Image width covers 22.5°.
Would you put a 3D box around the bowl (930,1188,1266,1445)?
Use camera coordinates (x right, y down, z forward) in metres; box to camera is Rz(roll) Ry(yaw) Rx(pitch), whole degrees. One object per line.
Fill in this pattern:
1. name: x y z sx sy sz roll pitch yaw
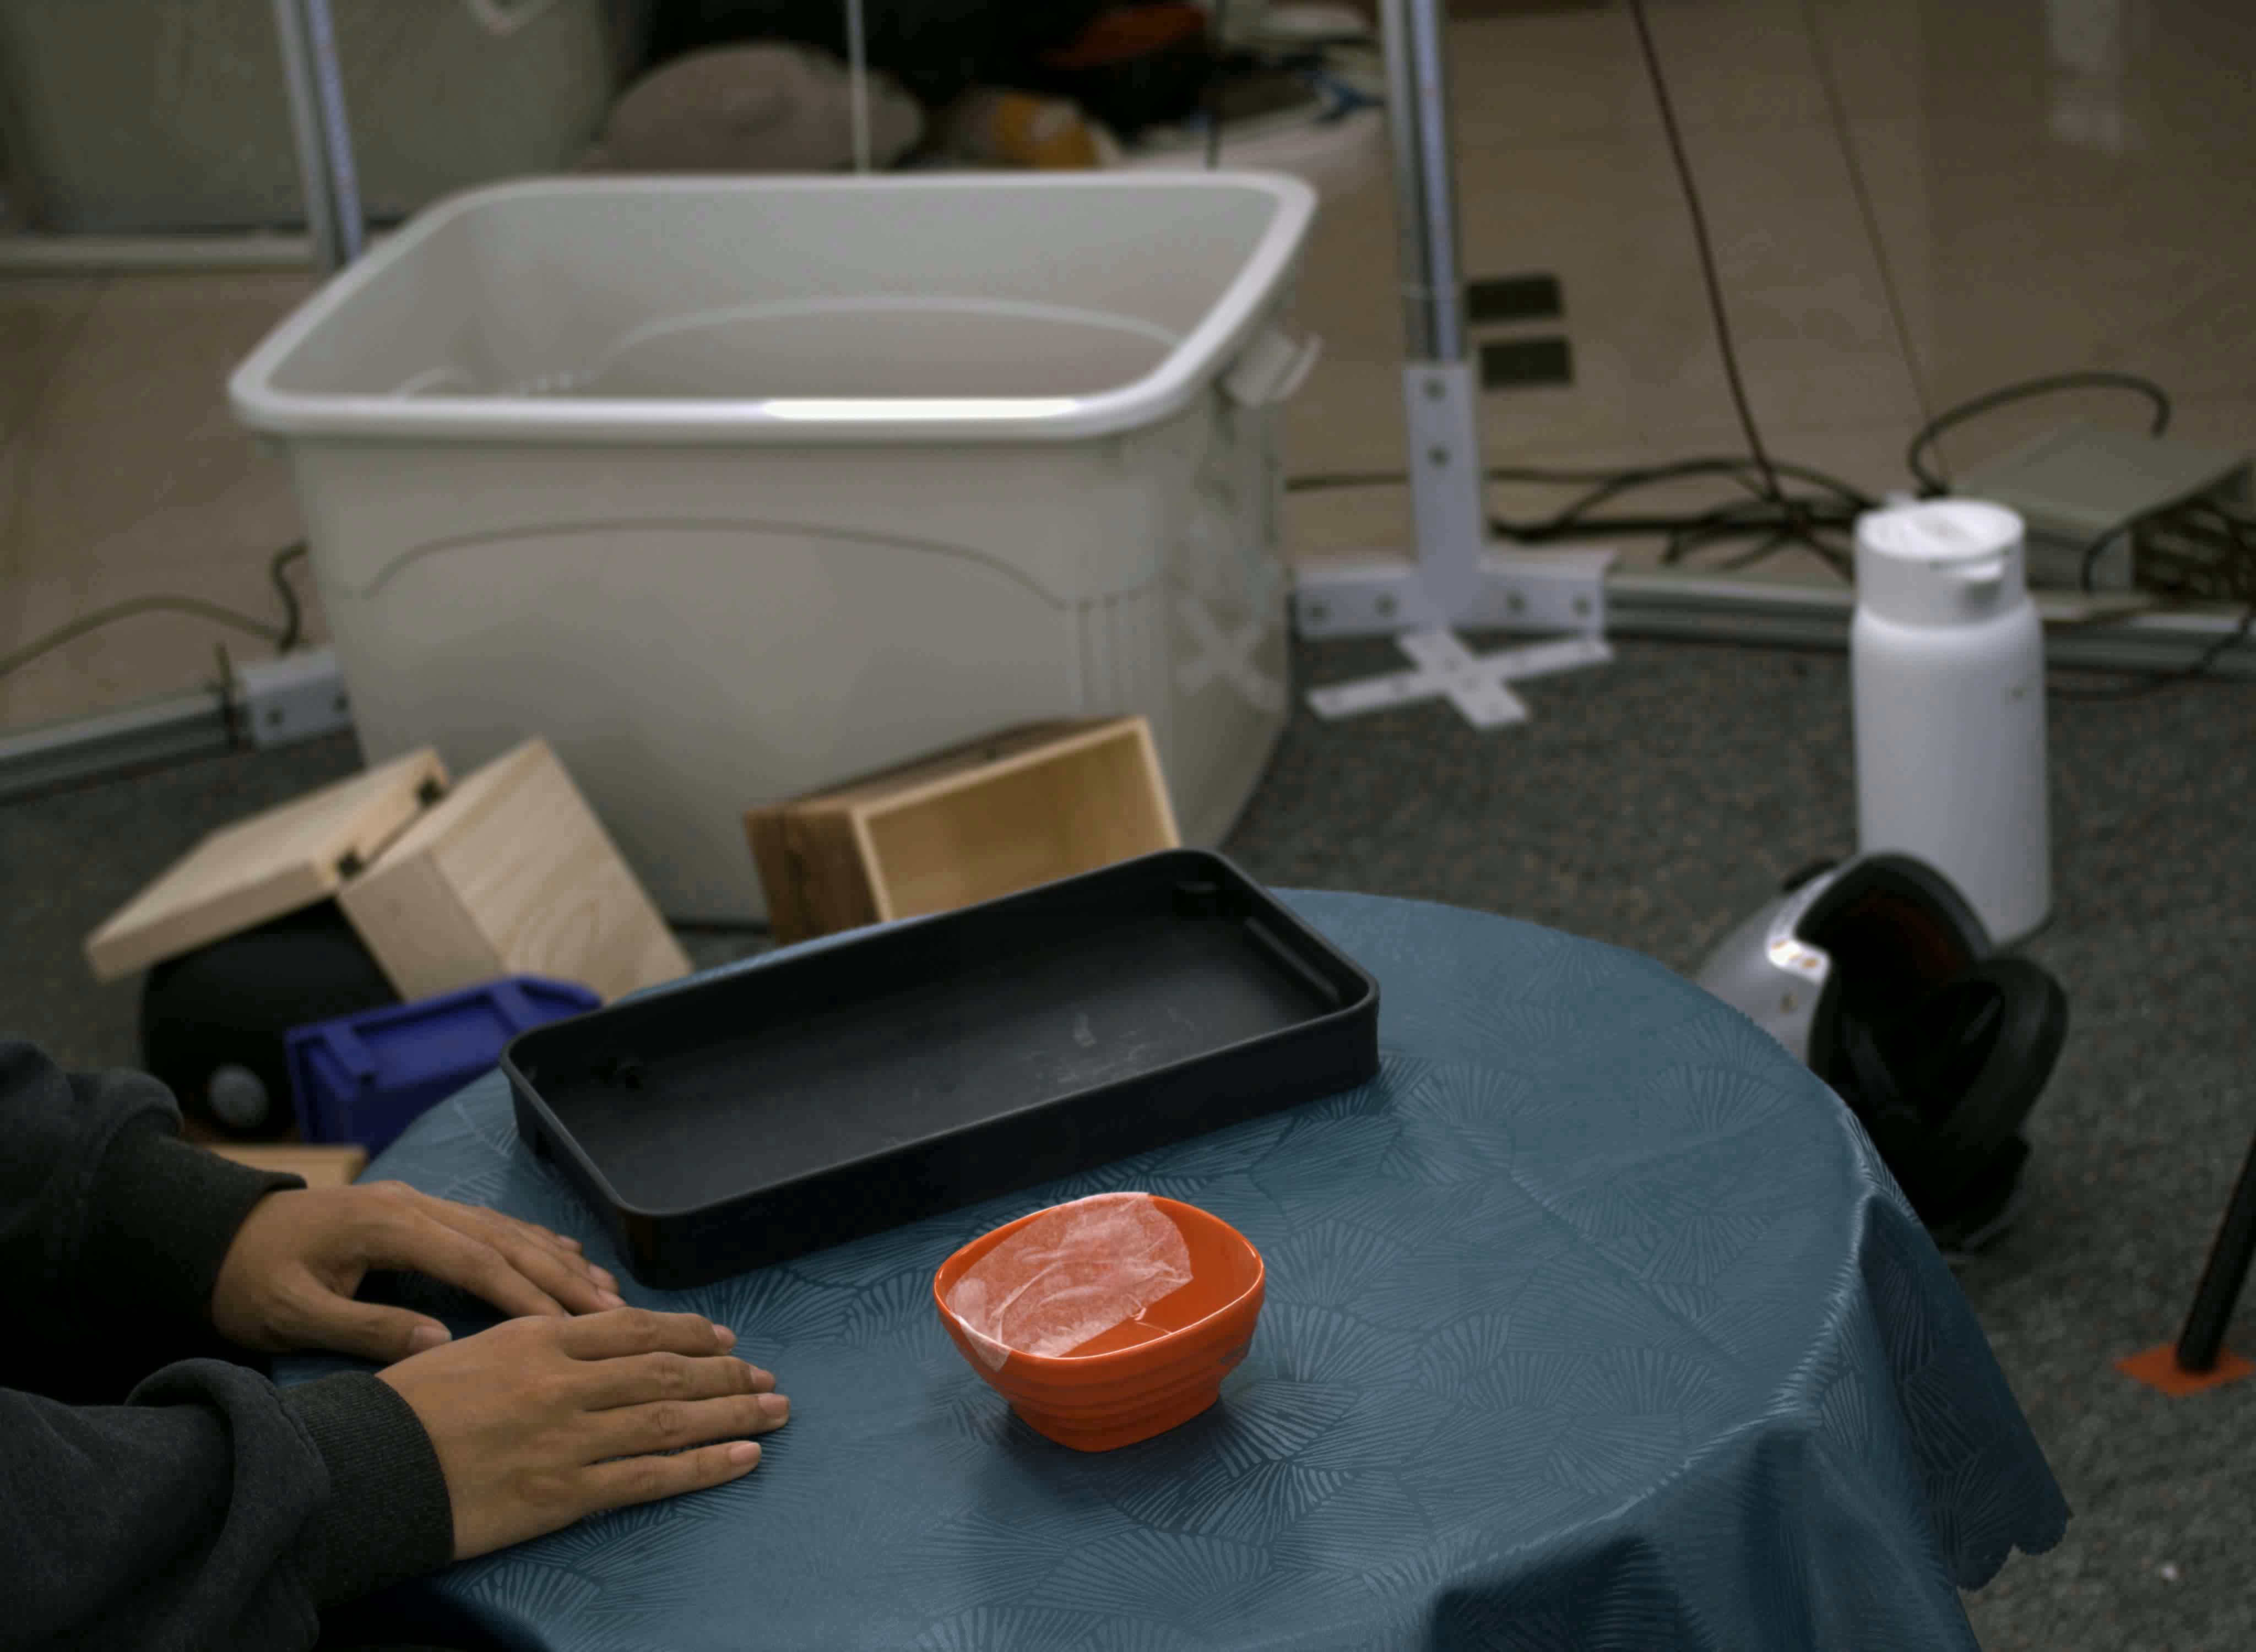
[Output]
1. bowl: -0.009 0.178 2.000 0.119 0.052 0.117 -3 25 2

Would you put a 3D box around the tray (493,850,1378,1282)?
1. tray: -0.075 0.090 2.223 0.317 0.037 0.182 -15 26 -19
